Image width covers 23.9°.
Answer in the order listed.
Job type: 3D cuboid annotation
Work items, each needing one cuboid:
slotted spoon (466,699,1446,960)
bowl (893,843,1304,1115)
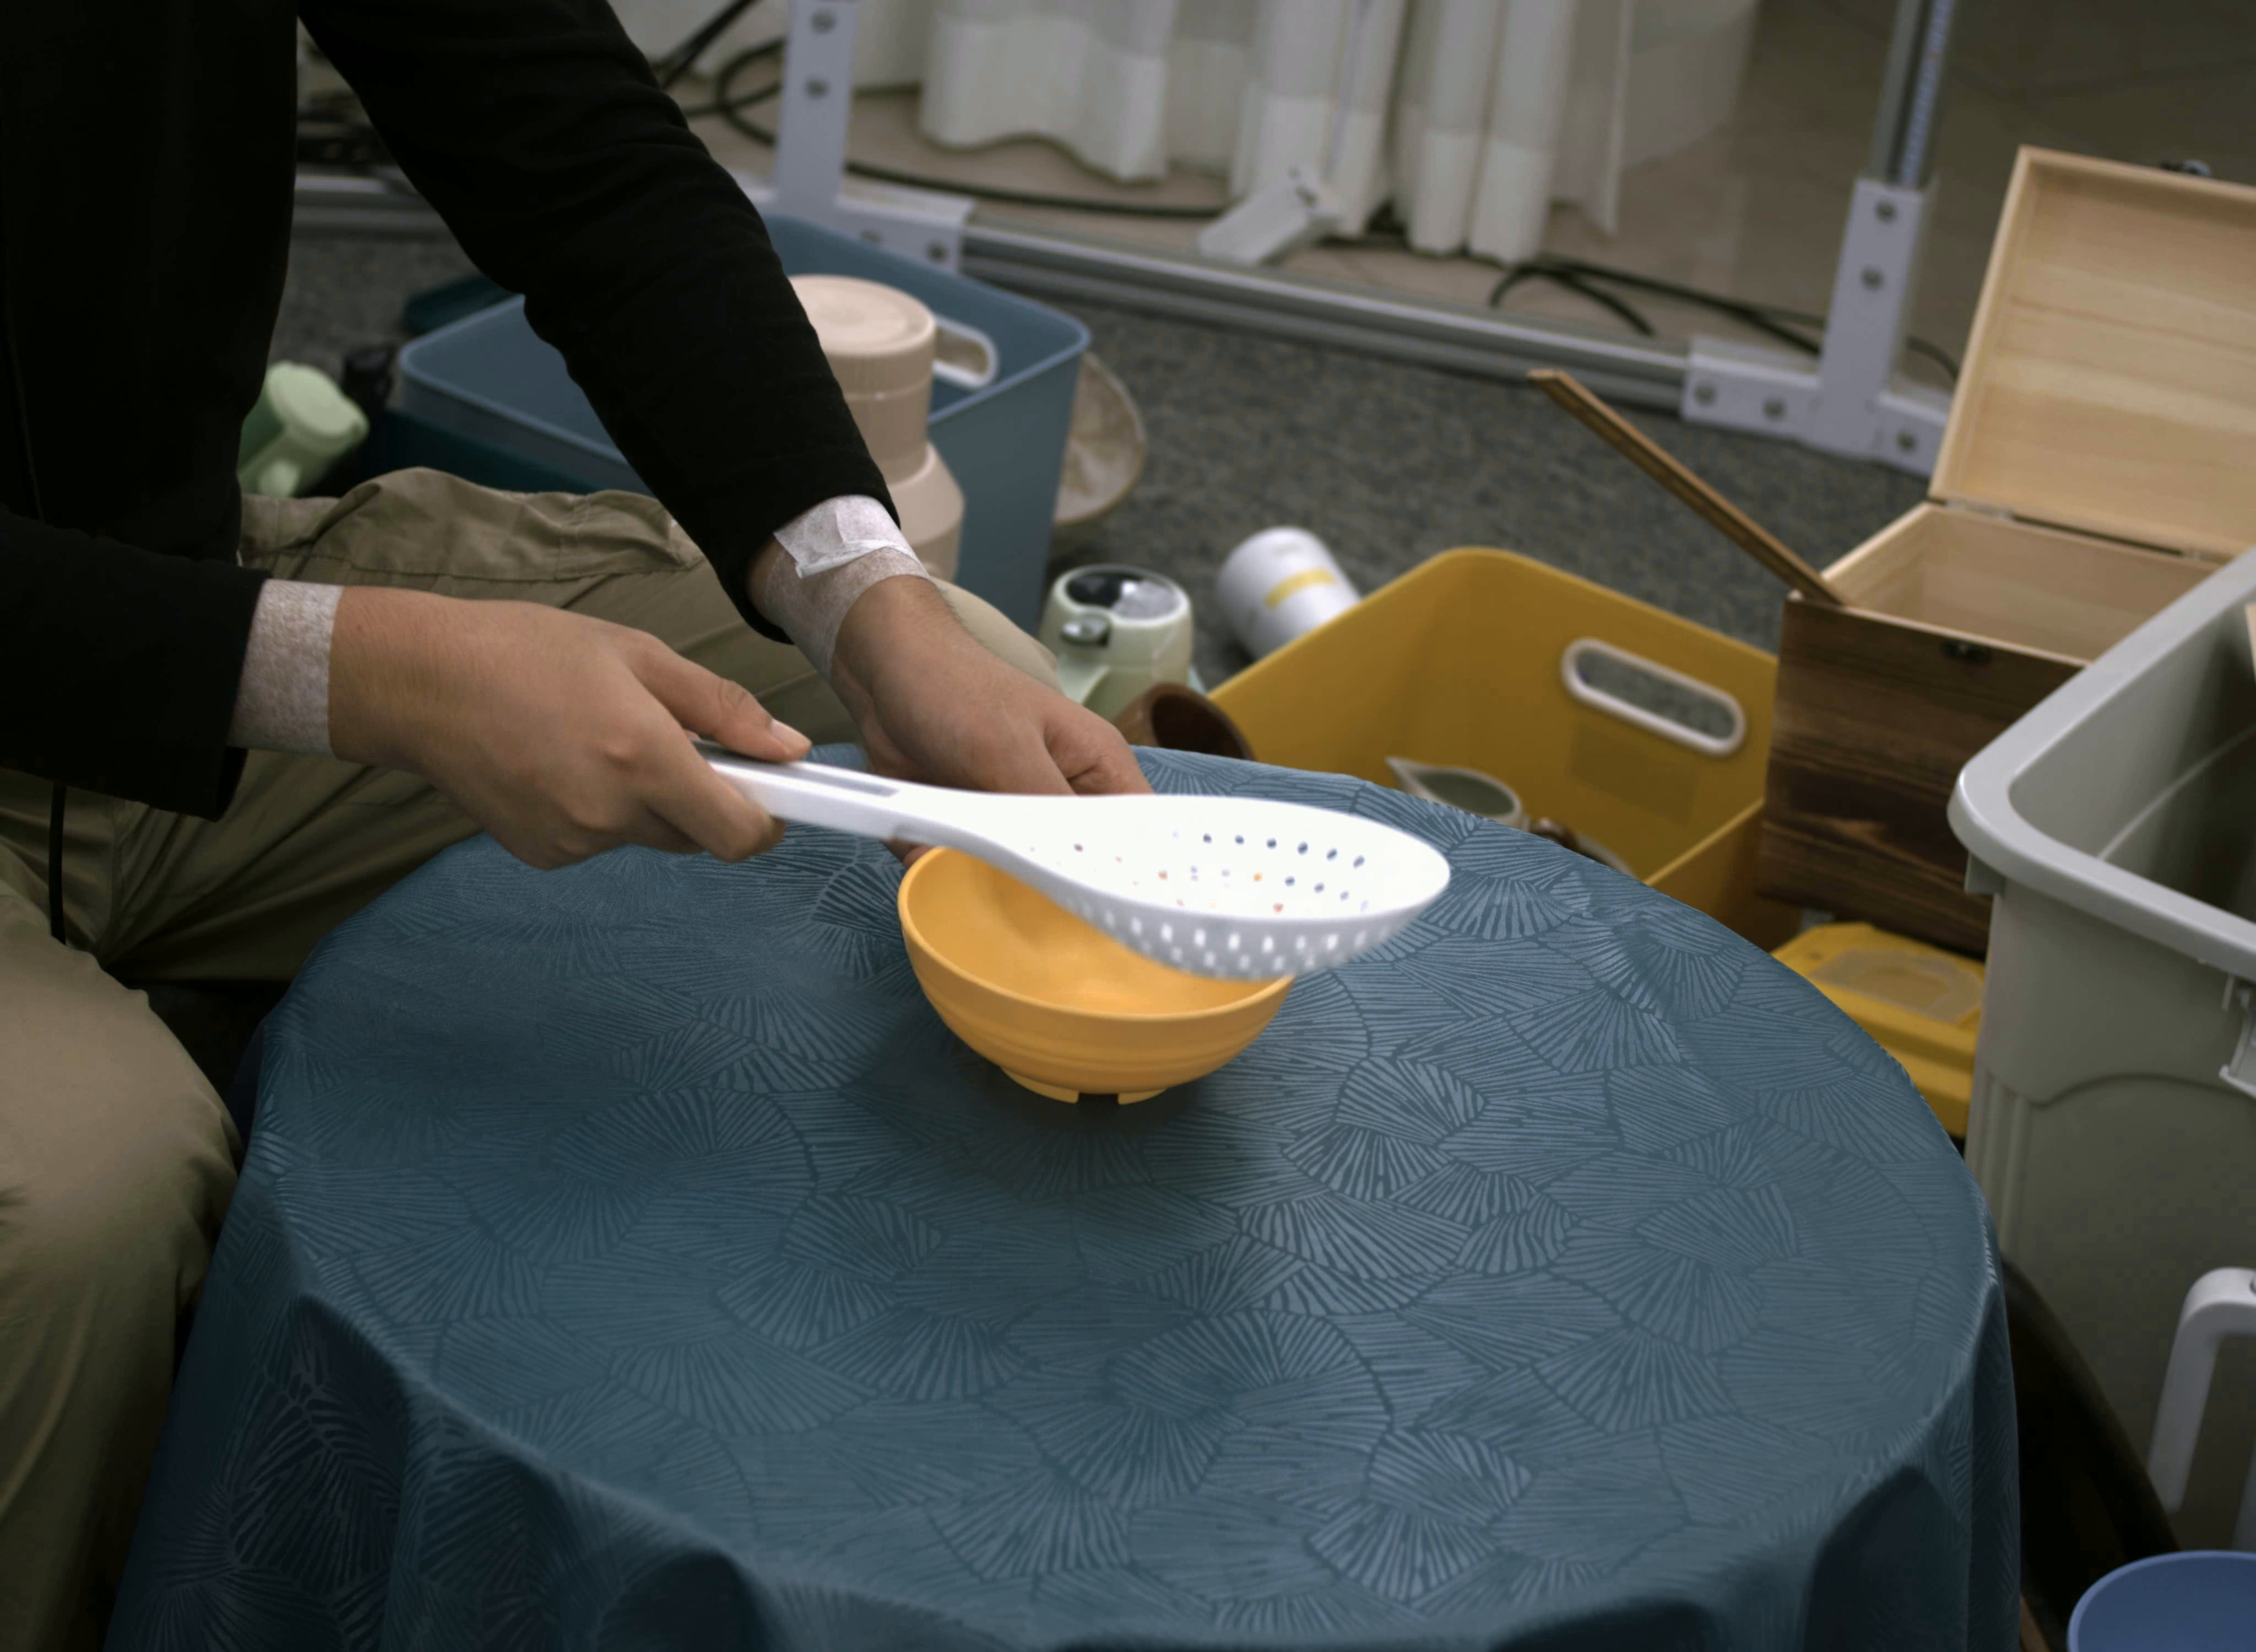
[{"bbox_3d":[-0.064,-0.007,1.773,0.351,0.045,0.136,15,17,20],"label":"slotted spoon"},{"bbox_3d":[-0.013,0.060,1.868,0.145,0.060,0.146,5,24,-2],"label":"bowl"}]
